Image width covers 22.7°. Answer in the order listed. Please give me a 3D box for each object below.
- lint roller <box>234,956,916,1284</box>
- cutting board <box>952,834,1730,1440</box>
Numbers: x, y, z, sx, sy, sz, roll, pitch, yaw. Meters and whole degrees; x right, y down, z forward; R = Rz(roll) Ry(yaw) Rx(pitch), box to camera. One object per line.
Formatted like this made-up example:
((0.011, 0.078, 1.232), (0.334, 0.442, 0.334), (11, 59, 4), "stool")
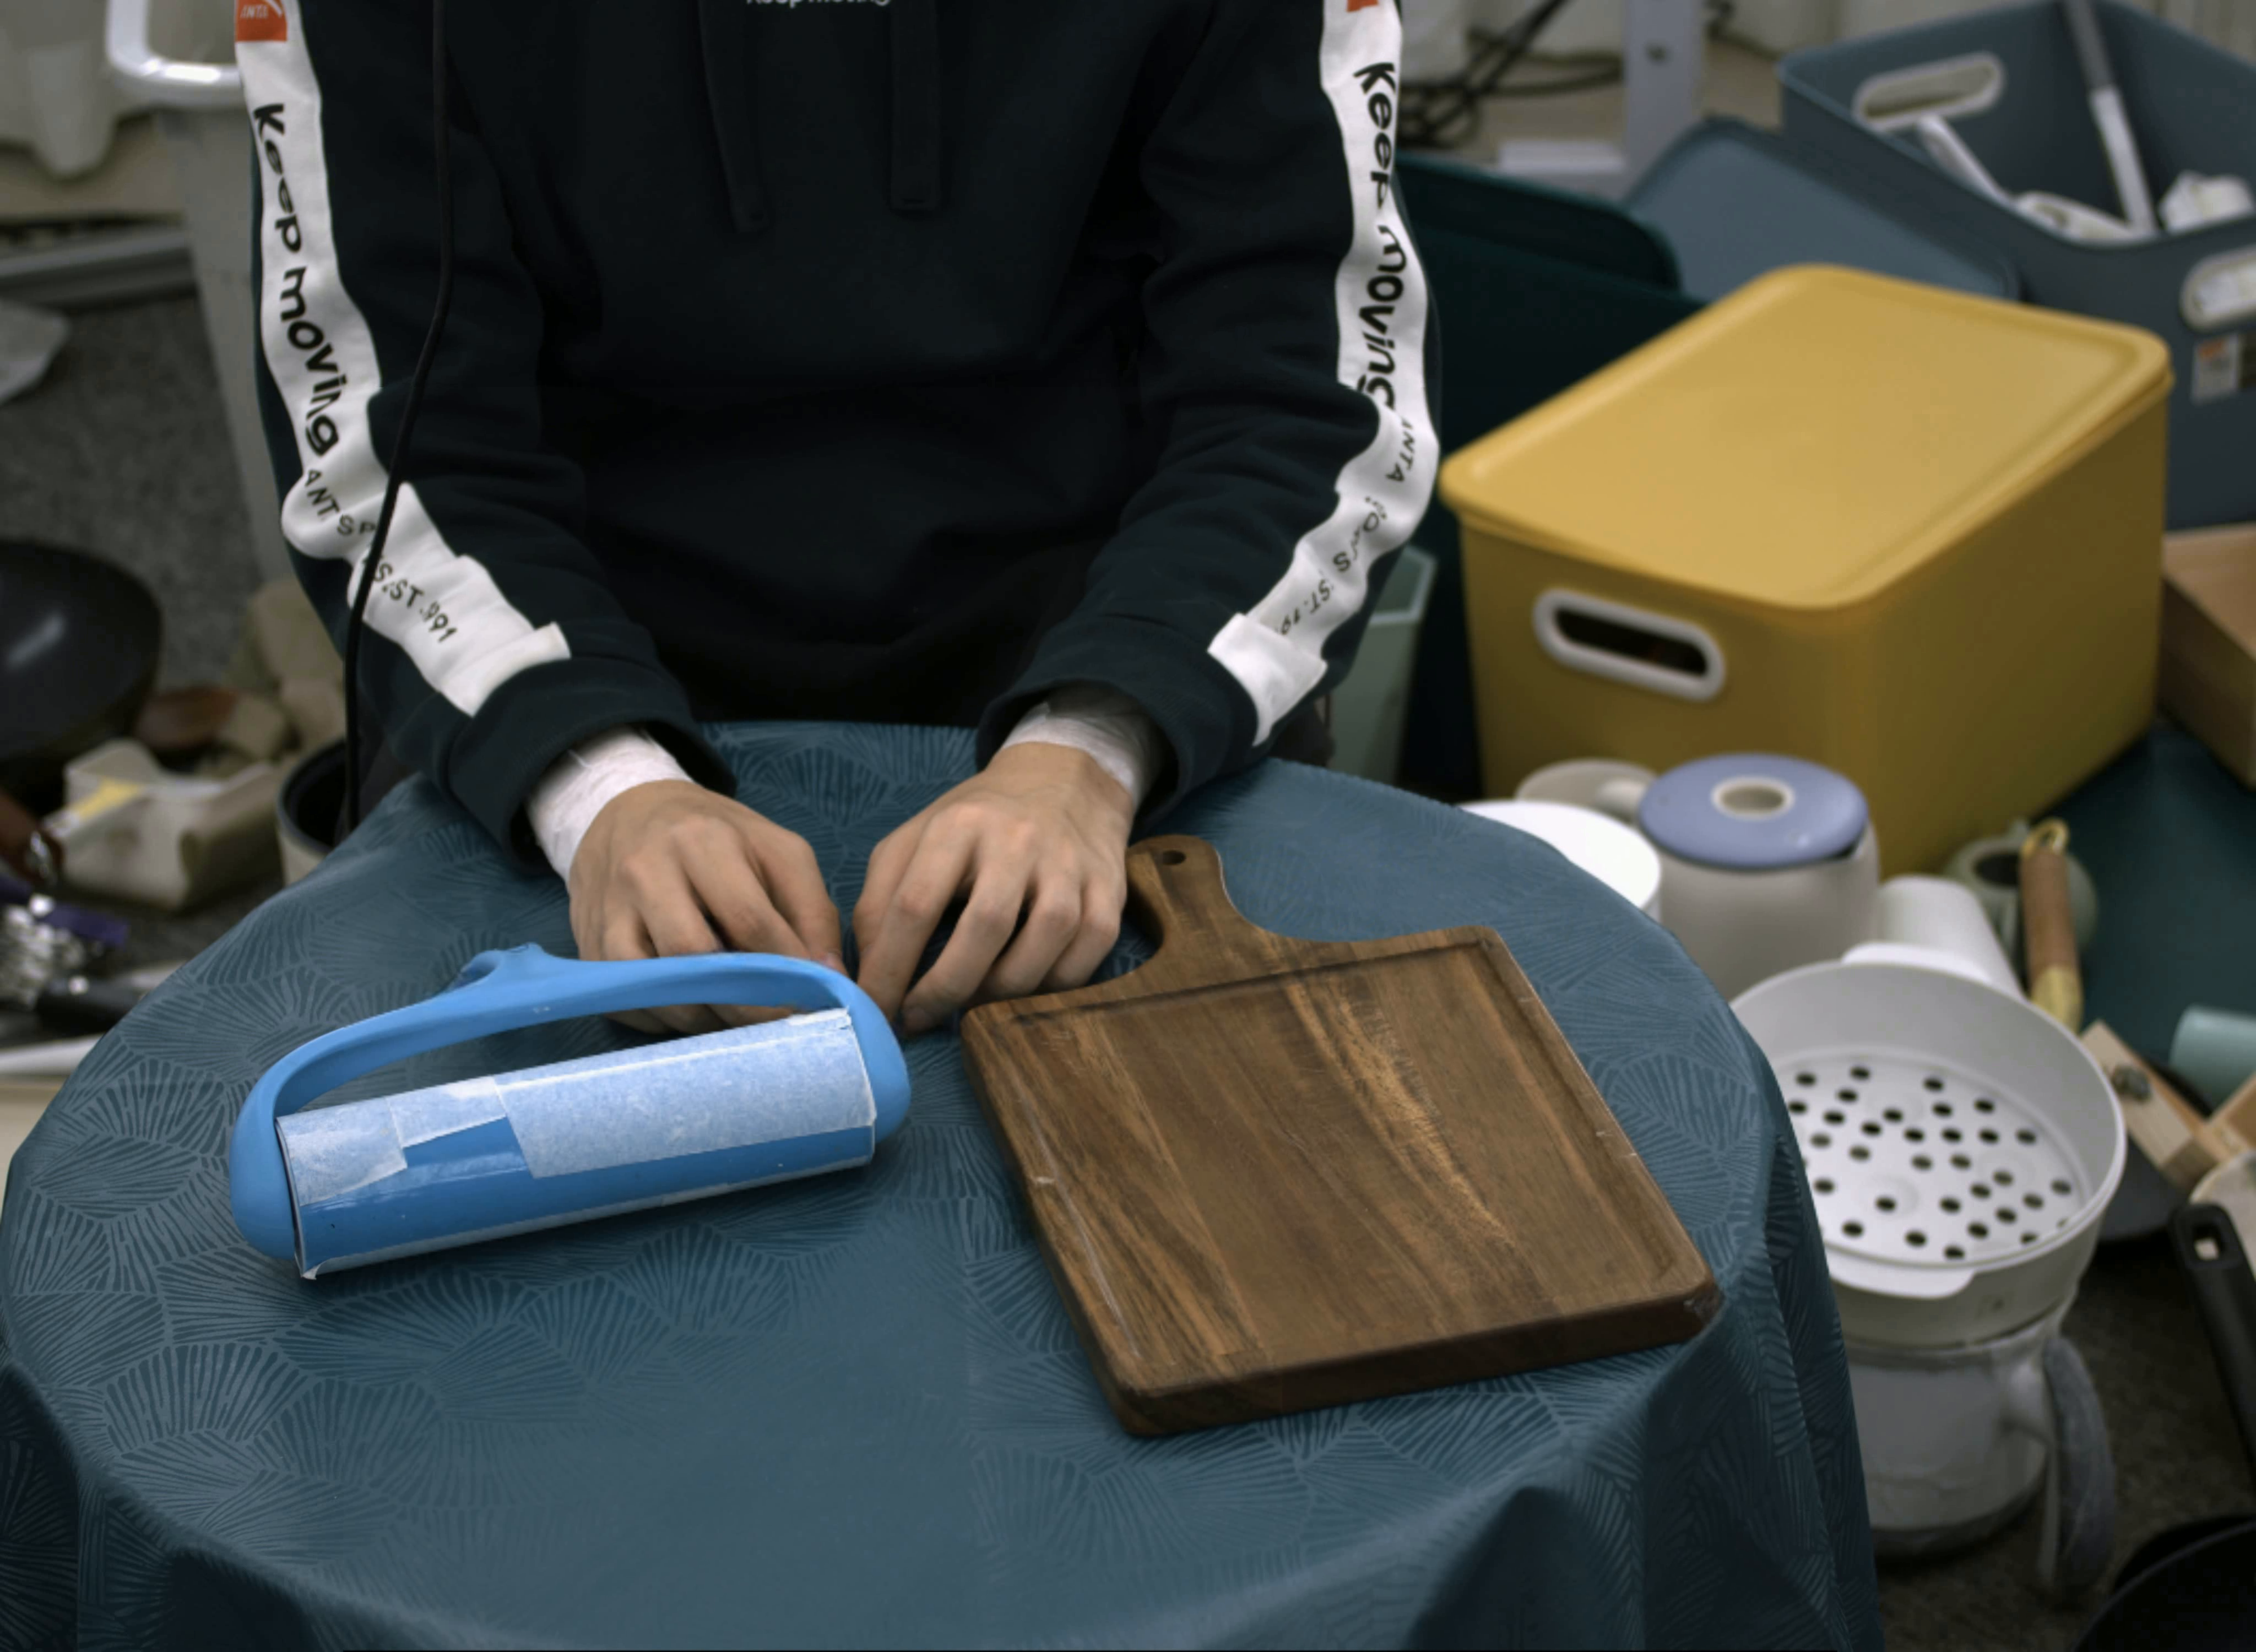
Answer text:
((-0.201, 0.079, 1.901), (0.229, 0.067, 0.182), (-13, 30, -16), "lint roller")
((0.052, 0.090, 1.893), (0.201, 0.023, 0.356), (-8, 28, -12), "cutting board")
